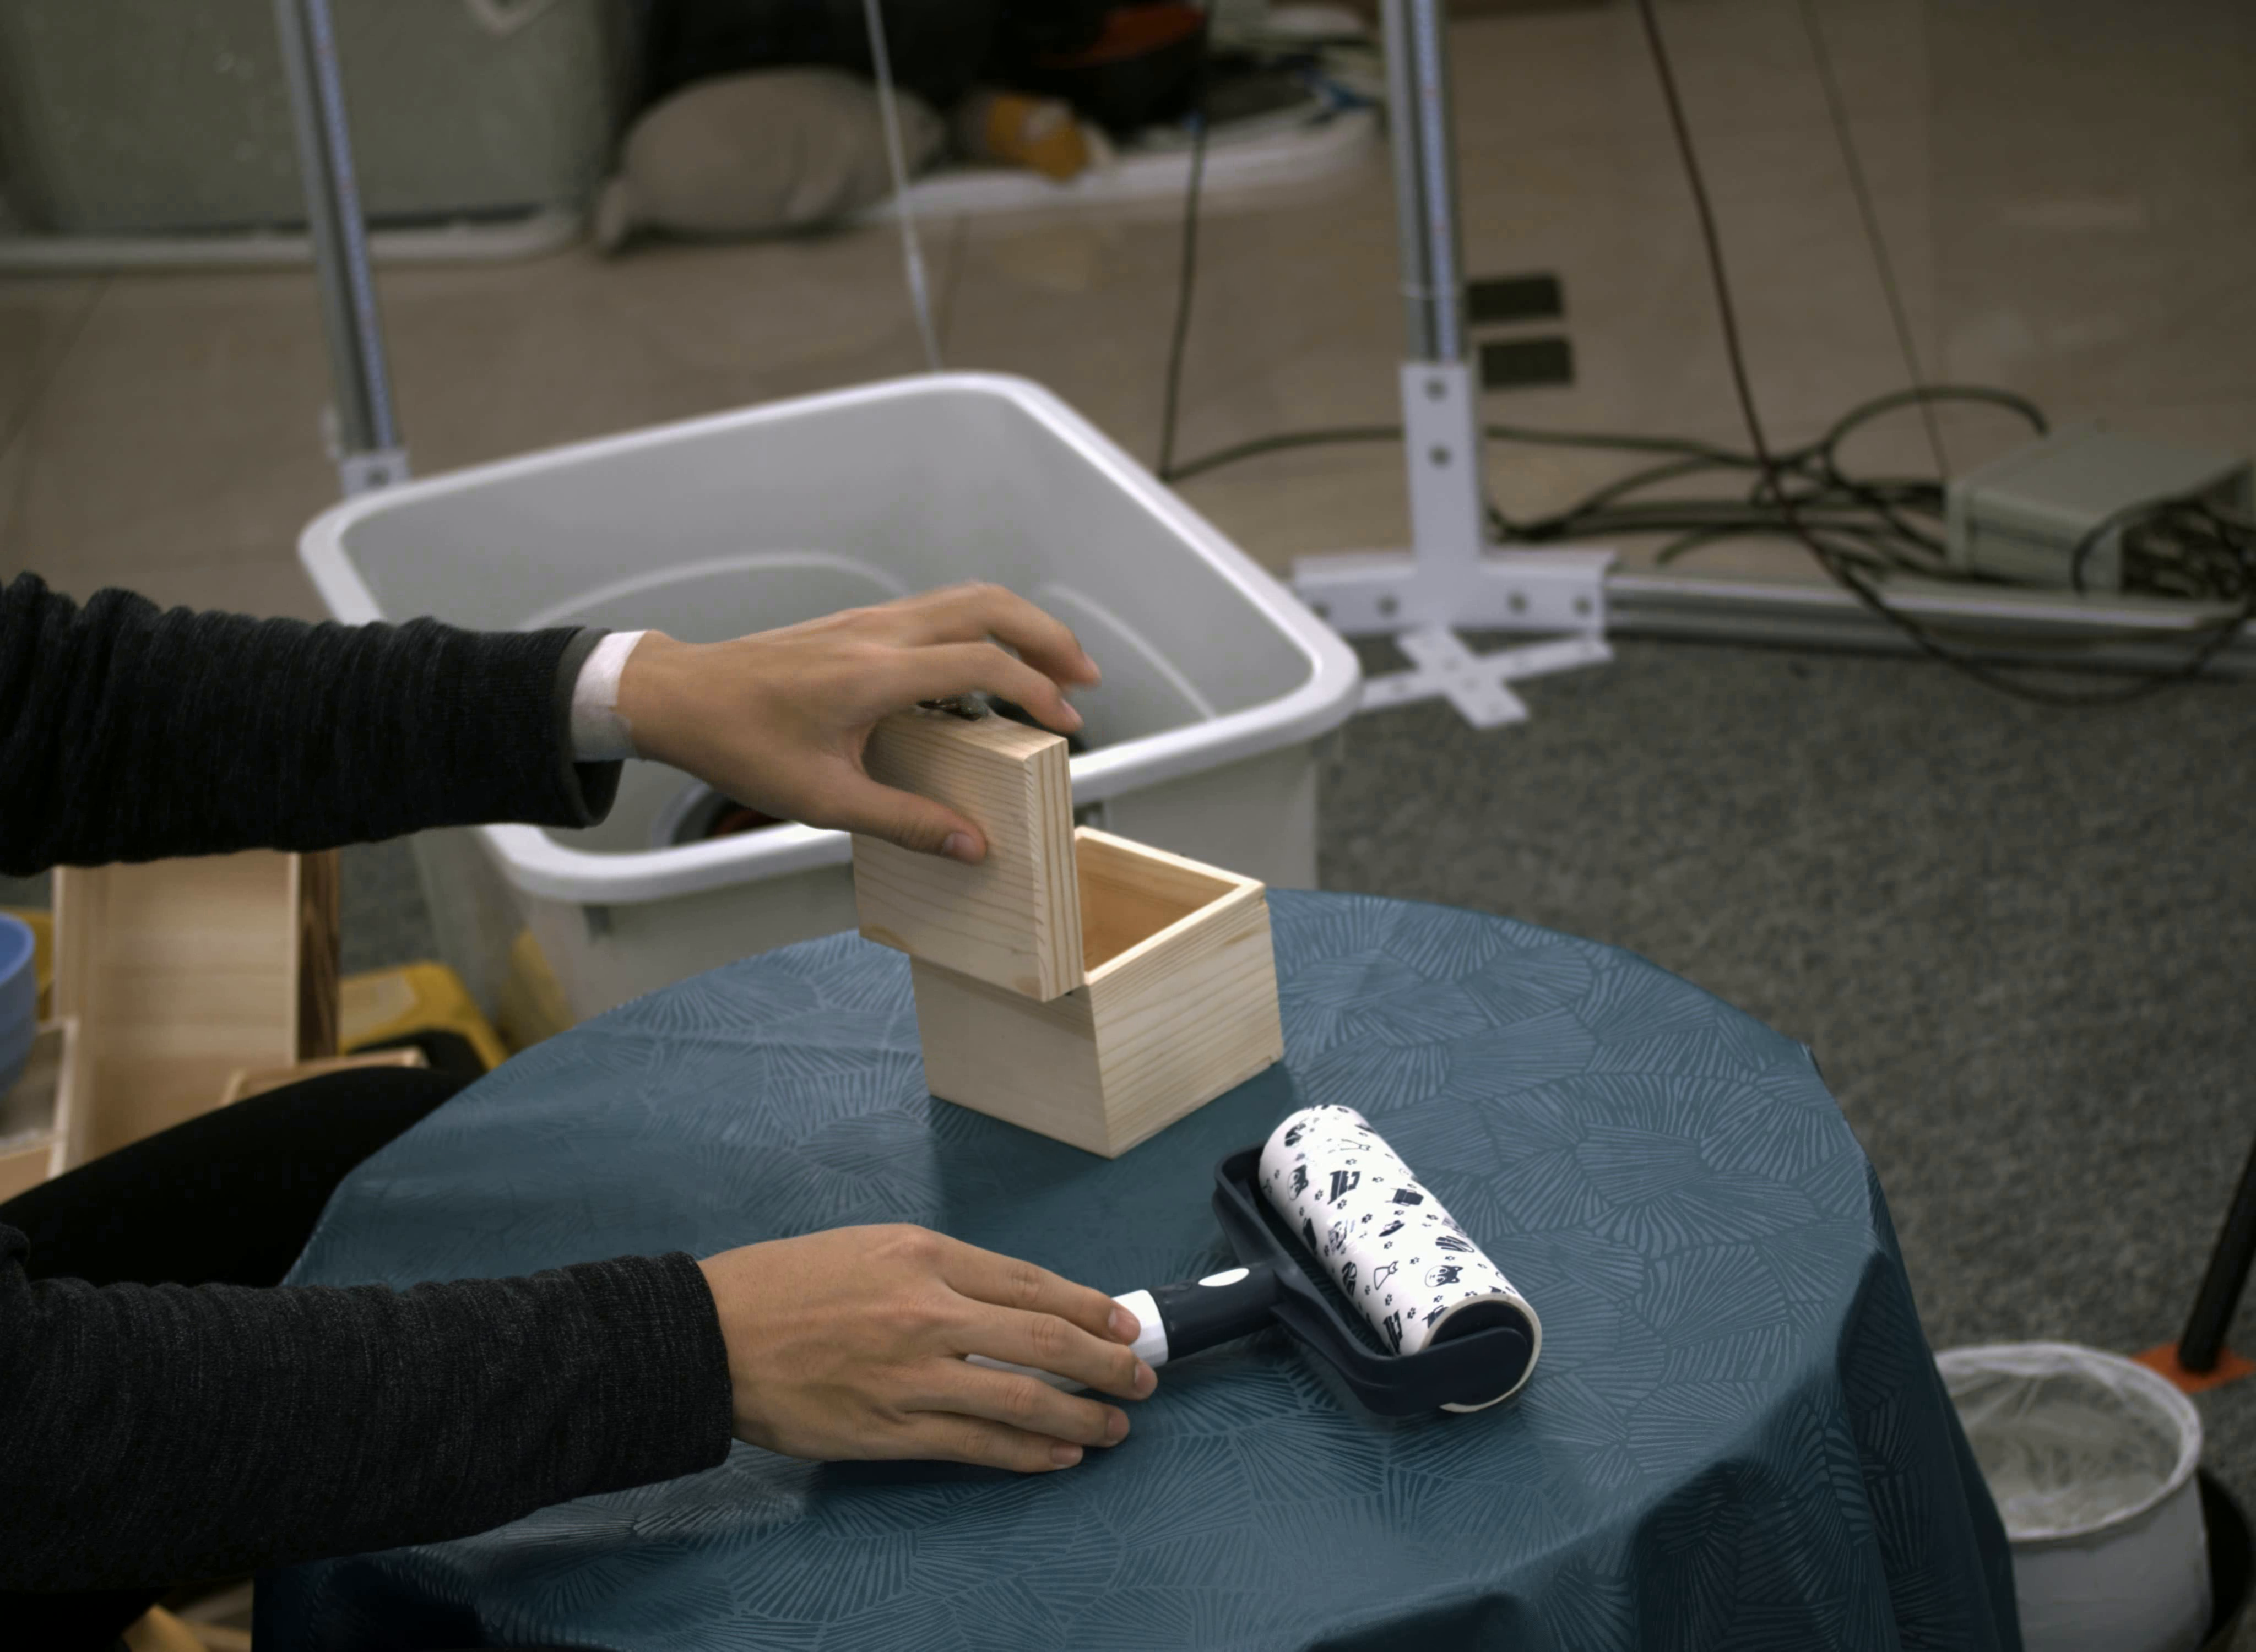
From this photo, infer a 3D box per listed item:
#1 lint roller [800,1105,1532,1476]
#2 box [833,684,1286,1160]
[{"bbox_3d":[0.001,0.179,2.012,0.246,0.051,0.174,-14,27,-15],"label":"lint roller"},{"bbox_3d":[-0.024,0.021,2.189,0.102,0.187,0.132,17,35,41],"label":"box"}]
